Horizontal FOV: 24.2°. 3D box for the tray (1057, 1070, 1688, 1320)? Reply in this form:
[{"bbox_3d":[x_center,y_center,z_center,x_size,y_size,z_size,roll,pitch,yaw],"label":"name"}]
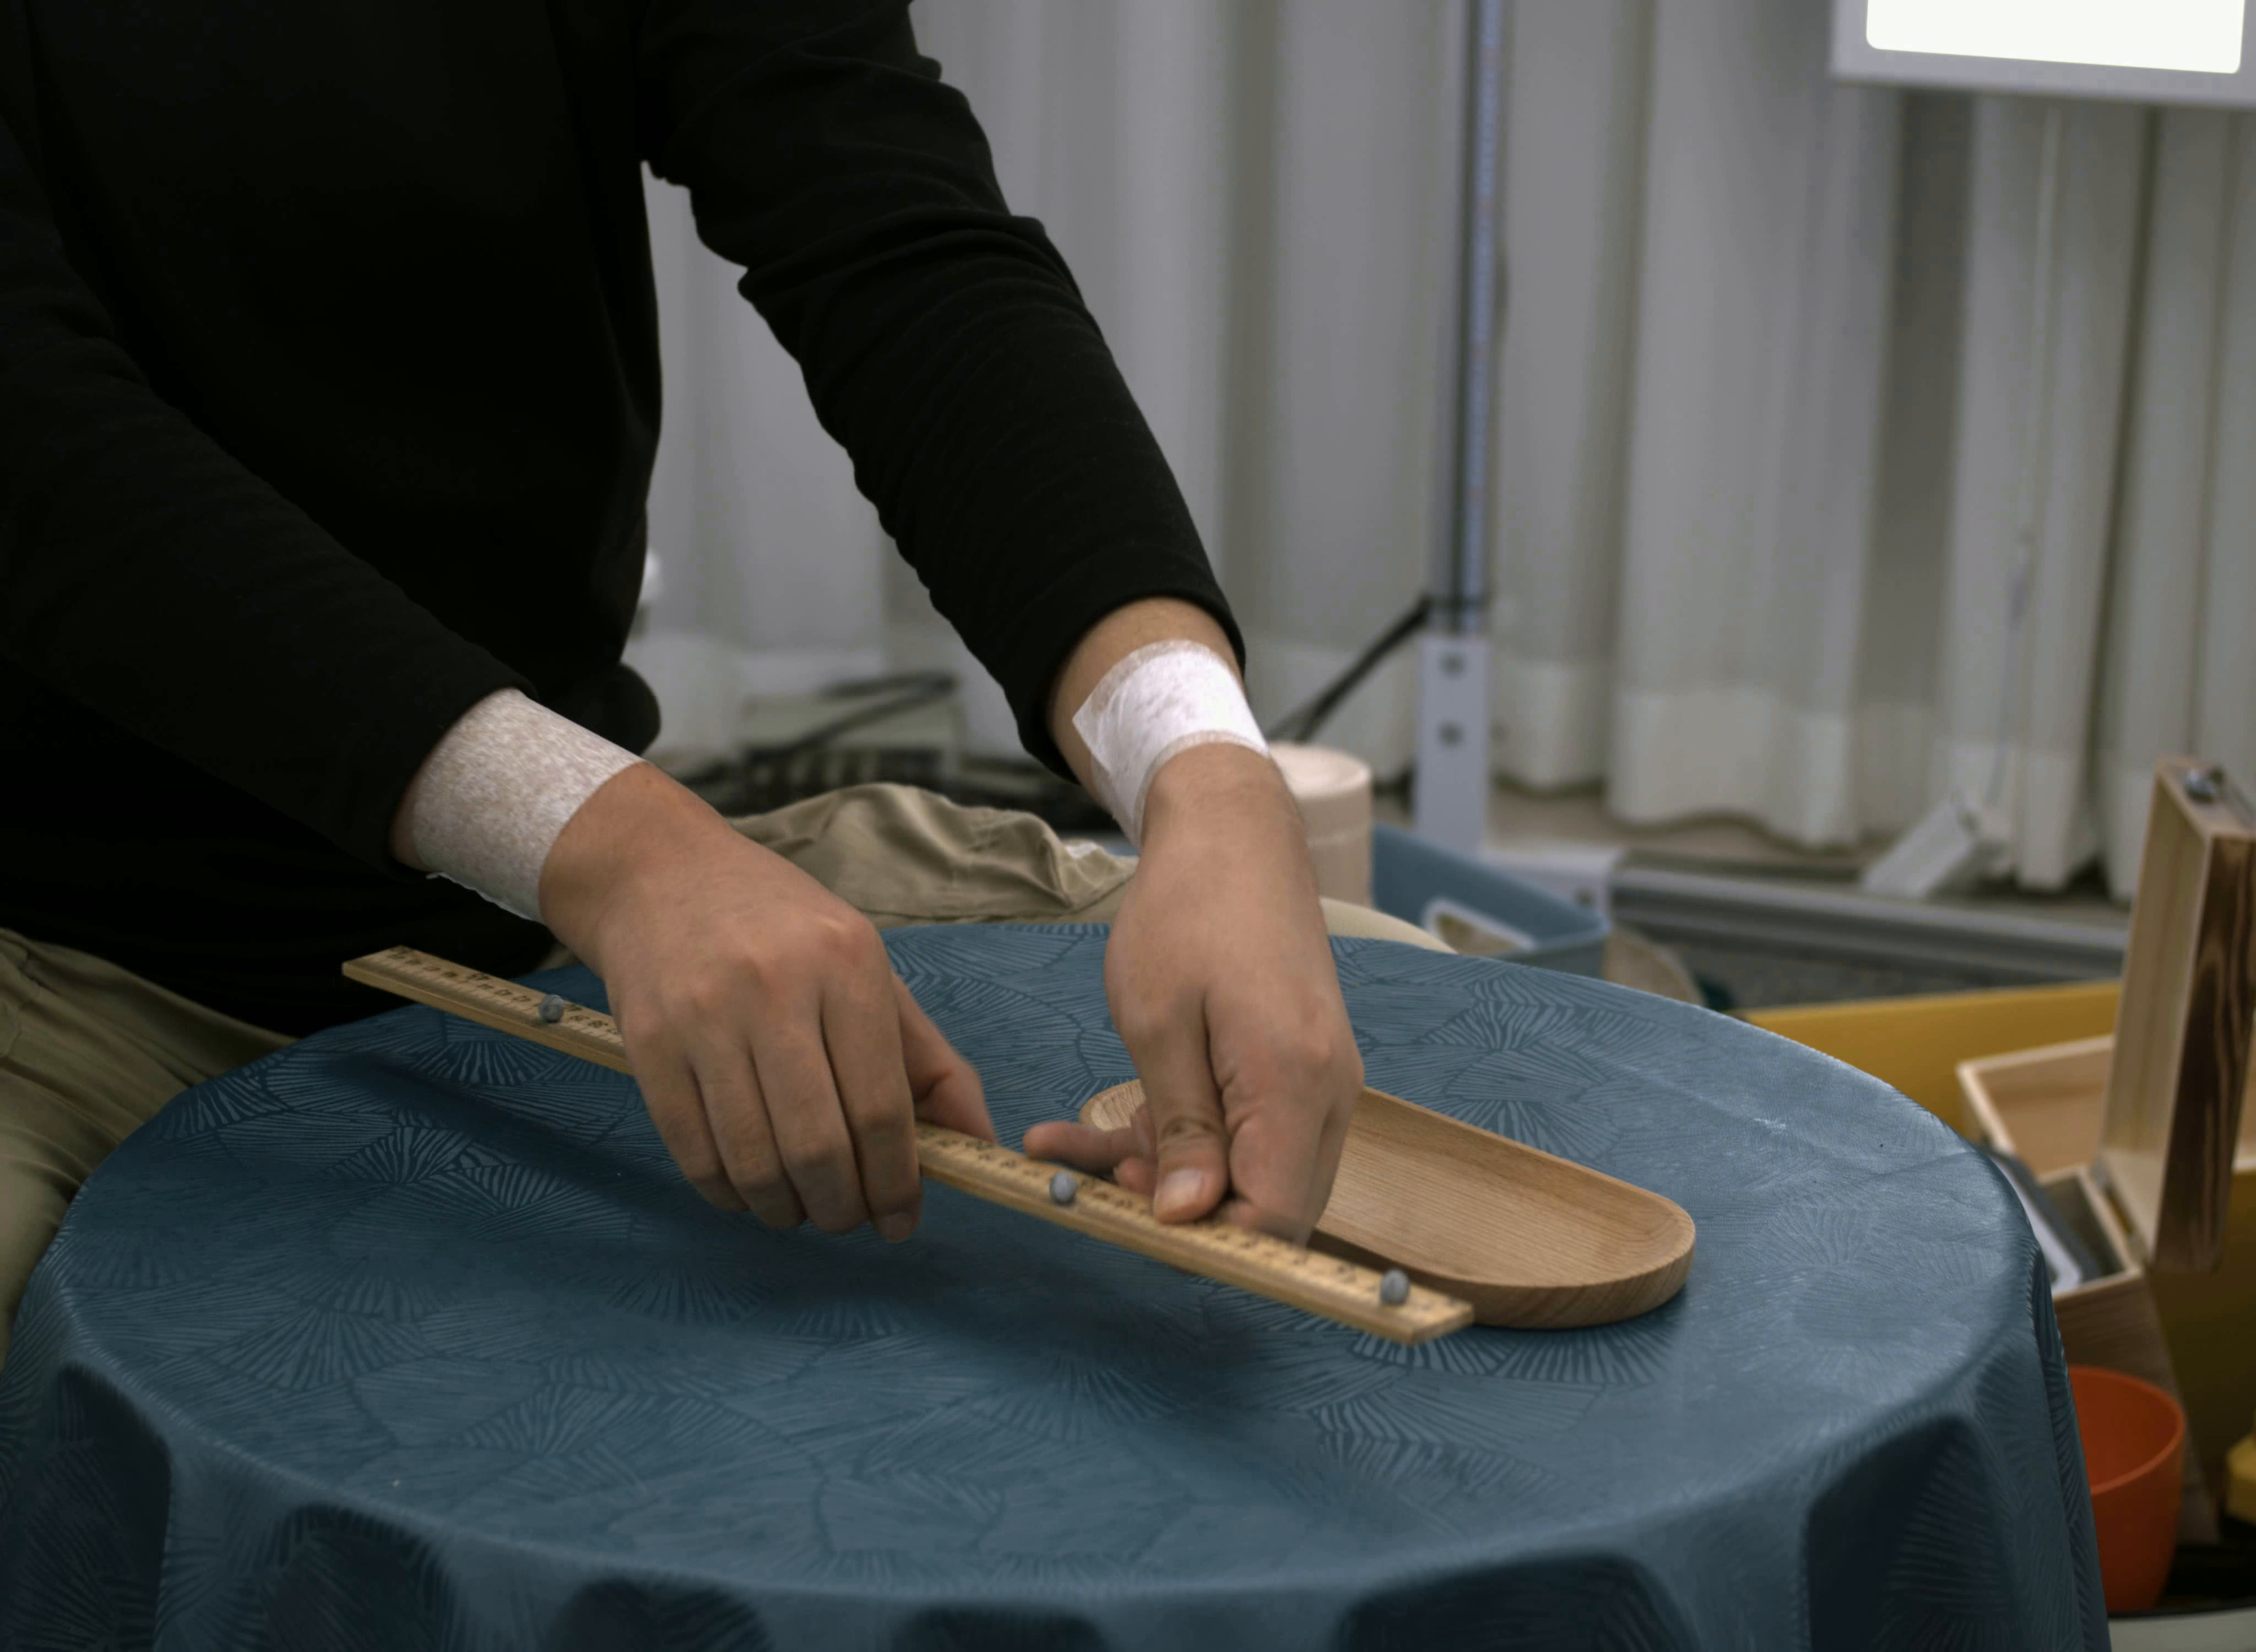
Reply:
[{"bbox_3d":[0.072,0.110,1.599,0.102,0.020,0.228,-11,17,-41],"label":"tray"}]

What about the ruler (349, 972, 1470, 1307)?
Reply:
[{"bbox_3d":[-0.082,0.087,1.563,0.027,0.006,0.494,-8,14,-41],"label":"ruler"}]
